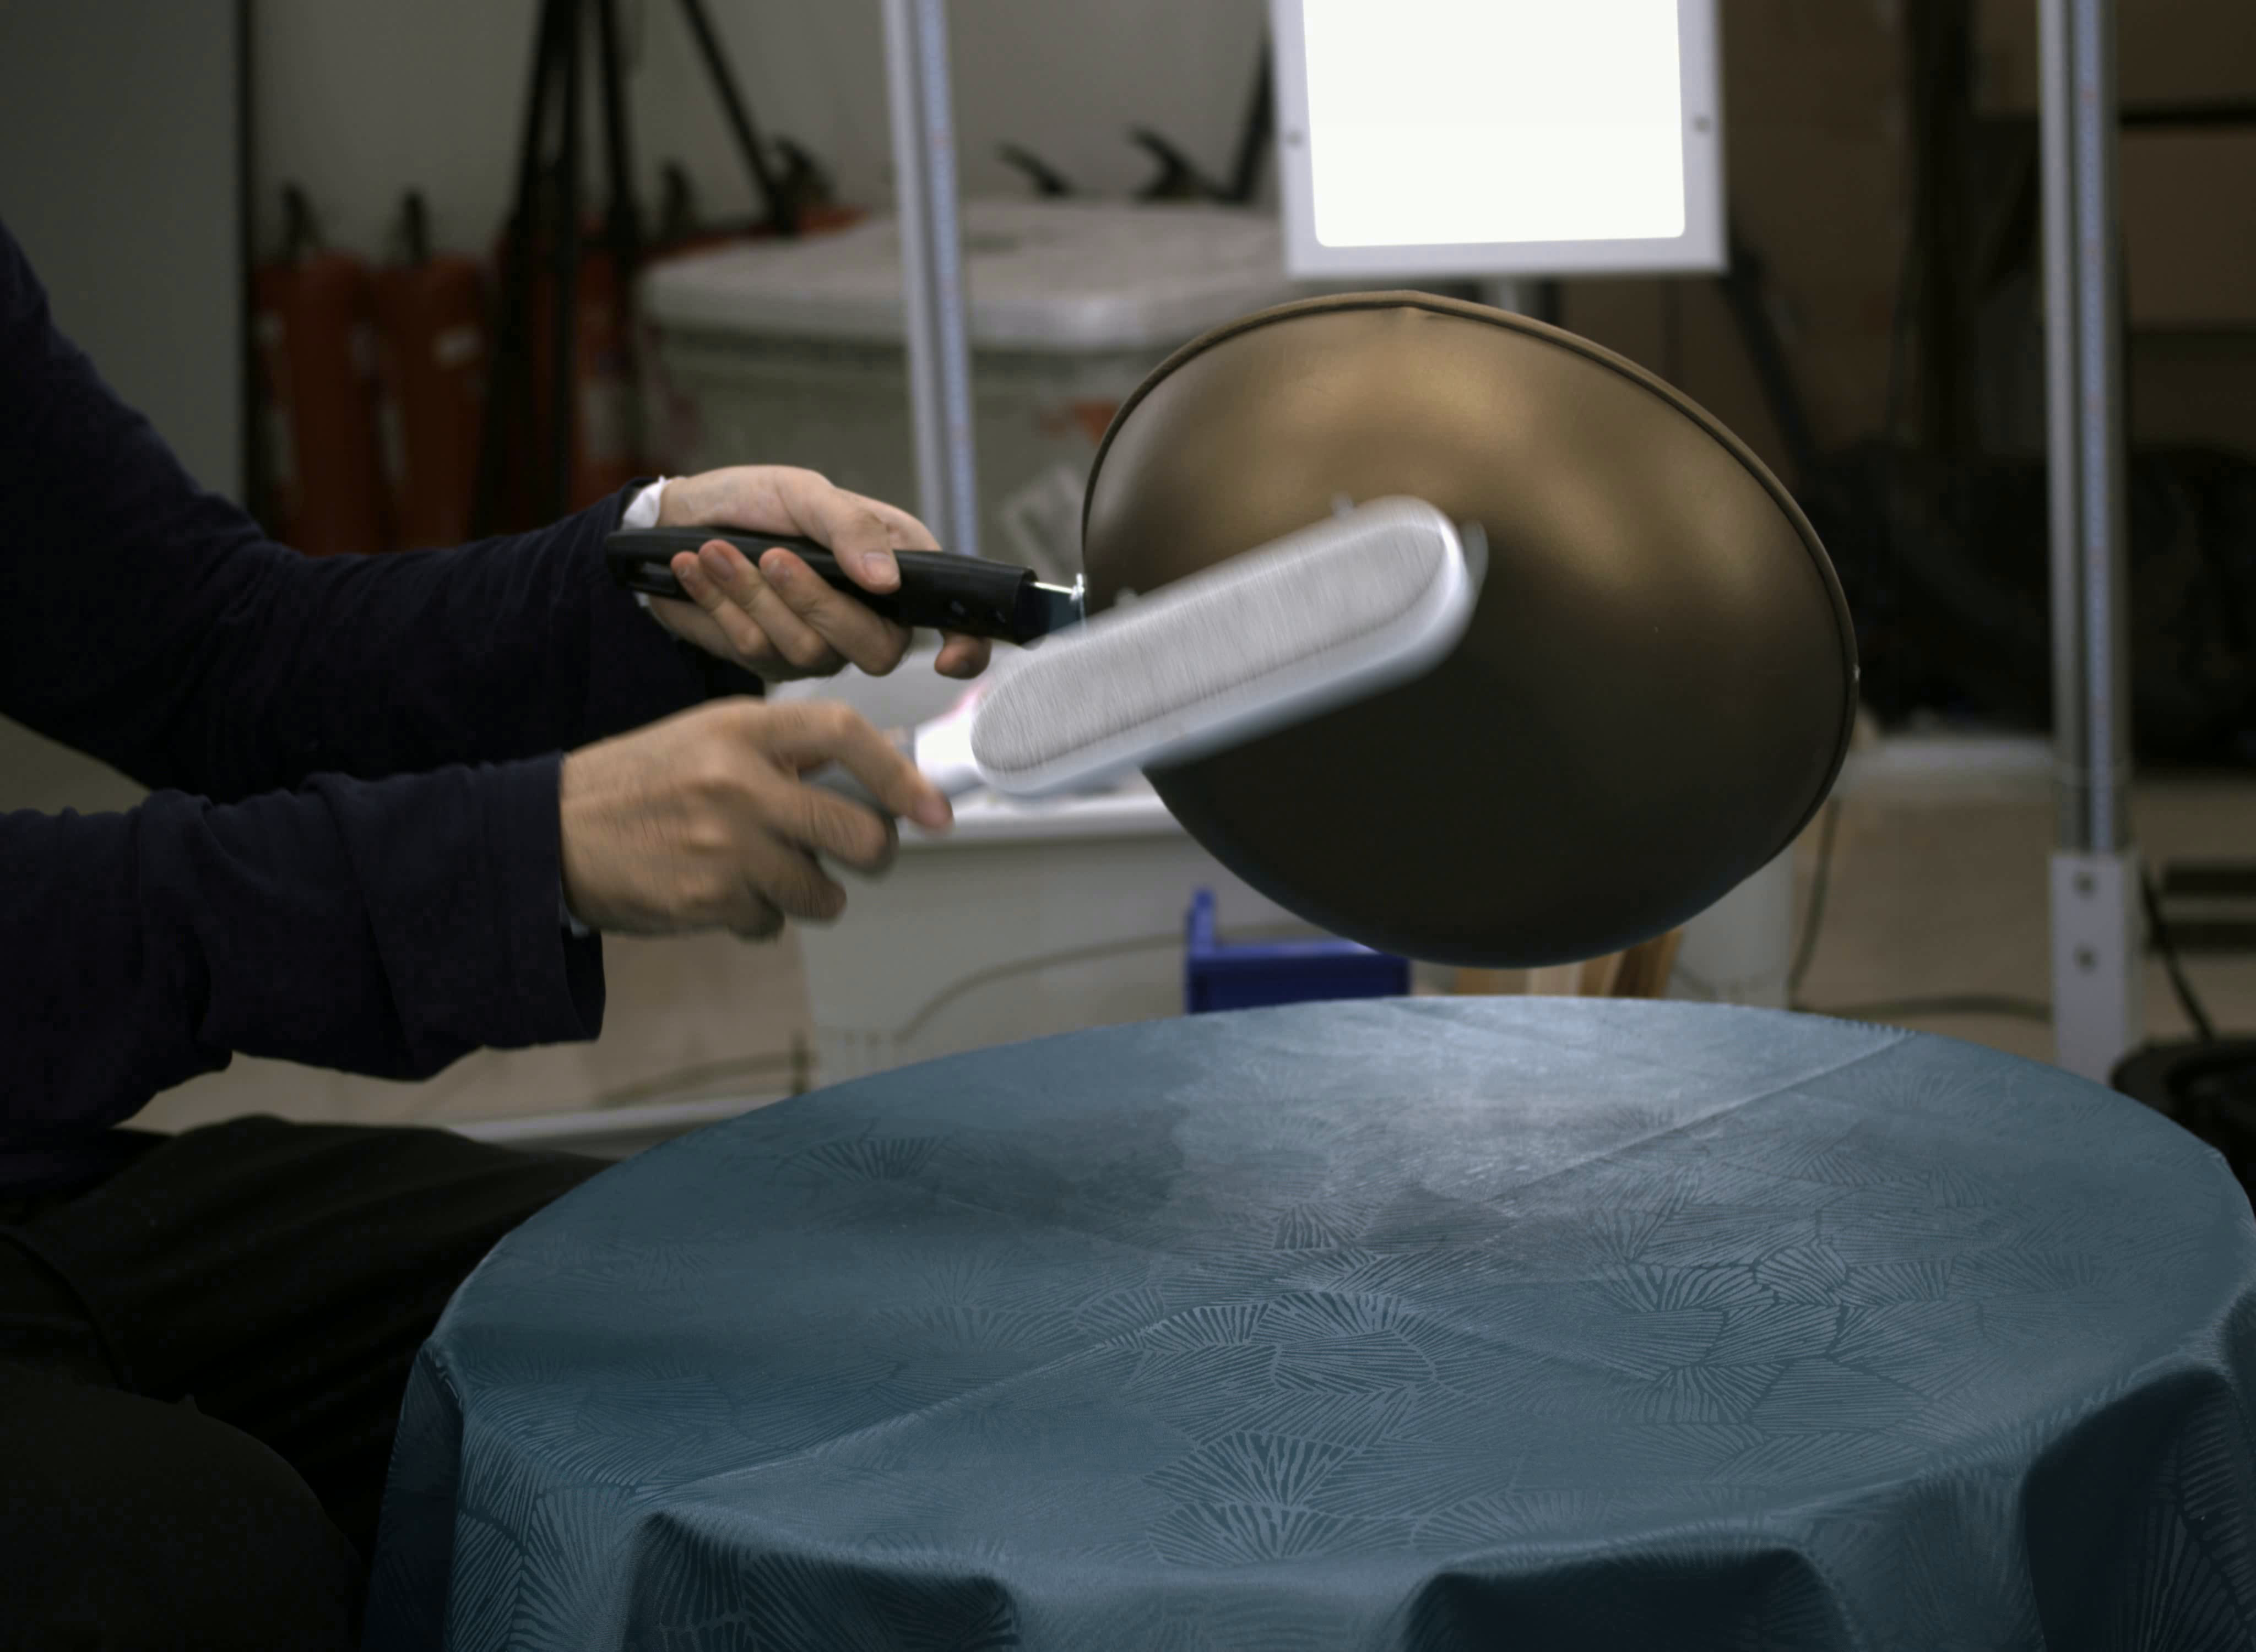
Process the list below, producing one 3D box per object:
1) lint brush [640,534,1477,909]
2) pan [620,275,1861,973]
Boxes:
[{"bbox_3d":[-0.026,-0.028,1.762,0.314,0.060,0.020,-19,-36,26],"label":"lint brush"},{"bbox_3d":[0.018,-0.055,1.893,0.470,0.288,0.085,5,43,24],"label":"pan"}]
